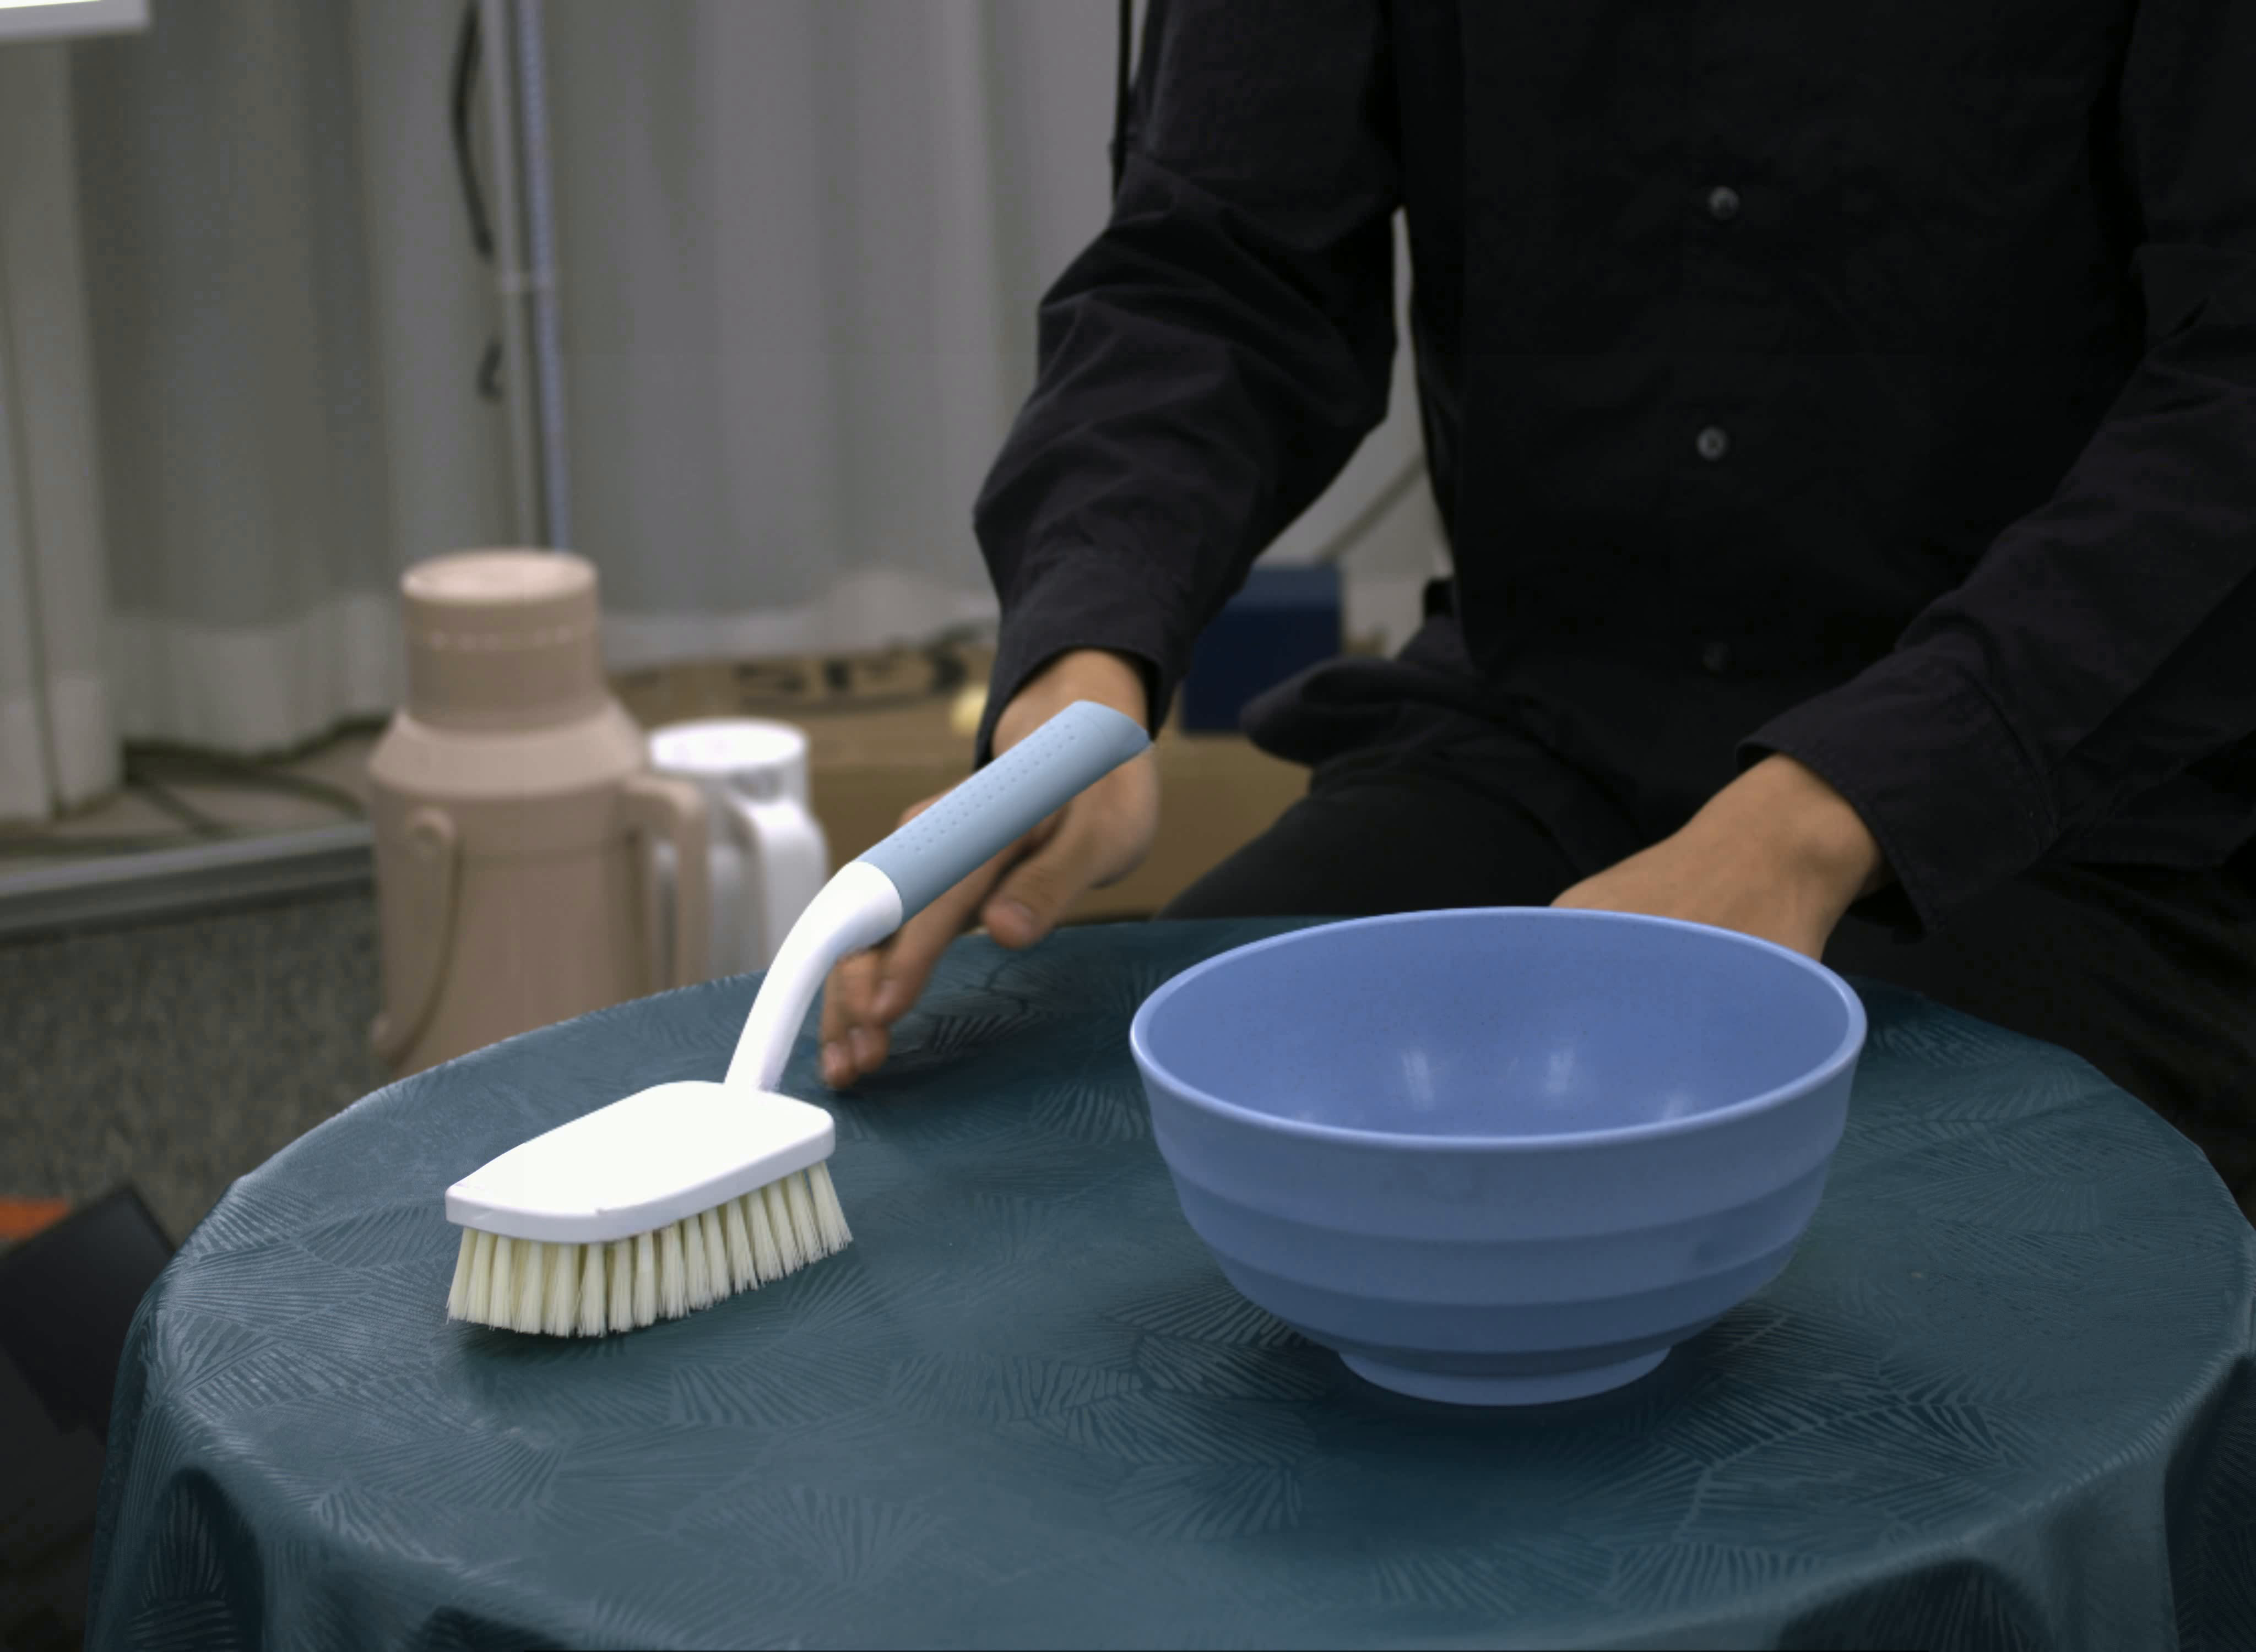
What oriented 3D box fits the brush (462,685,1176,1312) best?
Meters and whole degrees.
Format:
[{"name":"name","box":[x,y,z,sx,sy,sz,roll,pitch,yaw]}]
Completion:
[{"name":"brush","box":[-0.077,0.065,1.577,0.084,0.085,0.320,41,46,13]}]

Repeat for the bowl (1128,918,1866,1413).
[{"name":"bowl","box":[0.100,0.097,1.422,0.195,0.095,0.197,-3,16,-1]}]
